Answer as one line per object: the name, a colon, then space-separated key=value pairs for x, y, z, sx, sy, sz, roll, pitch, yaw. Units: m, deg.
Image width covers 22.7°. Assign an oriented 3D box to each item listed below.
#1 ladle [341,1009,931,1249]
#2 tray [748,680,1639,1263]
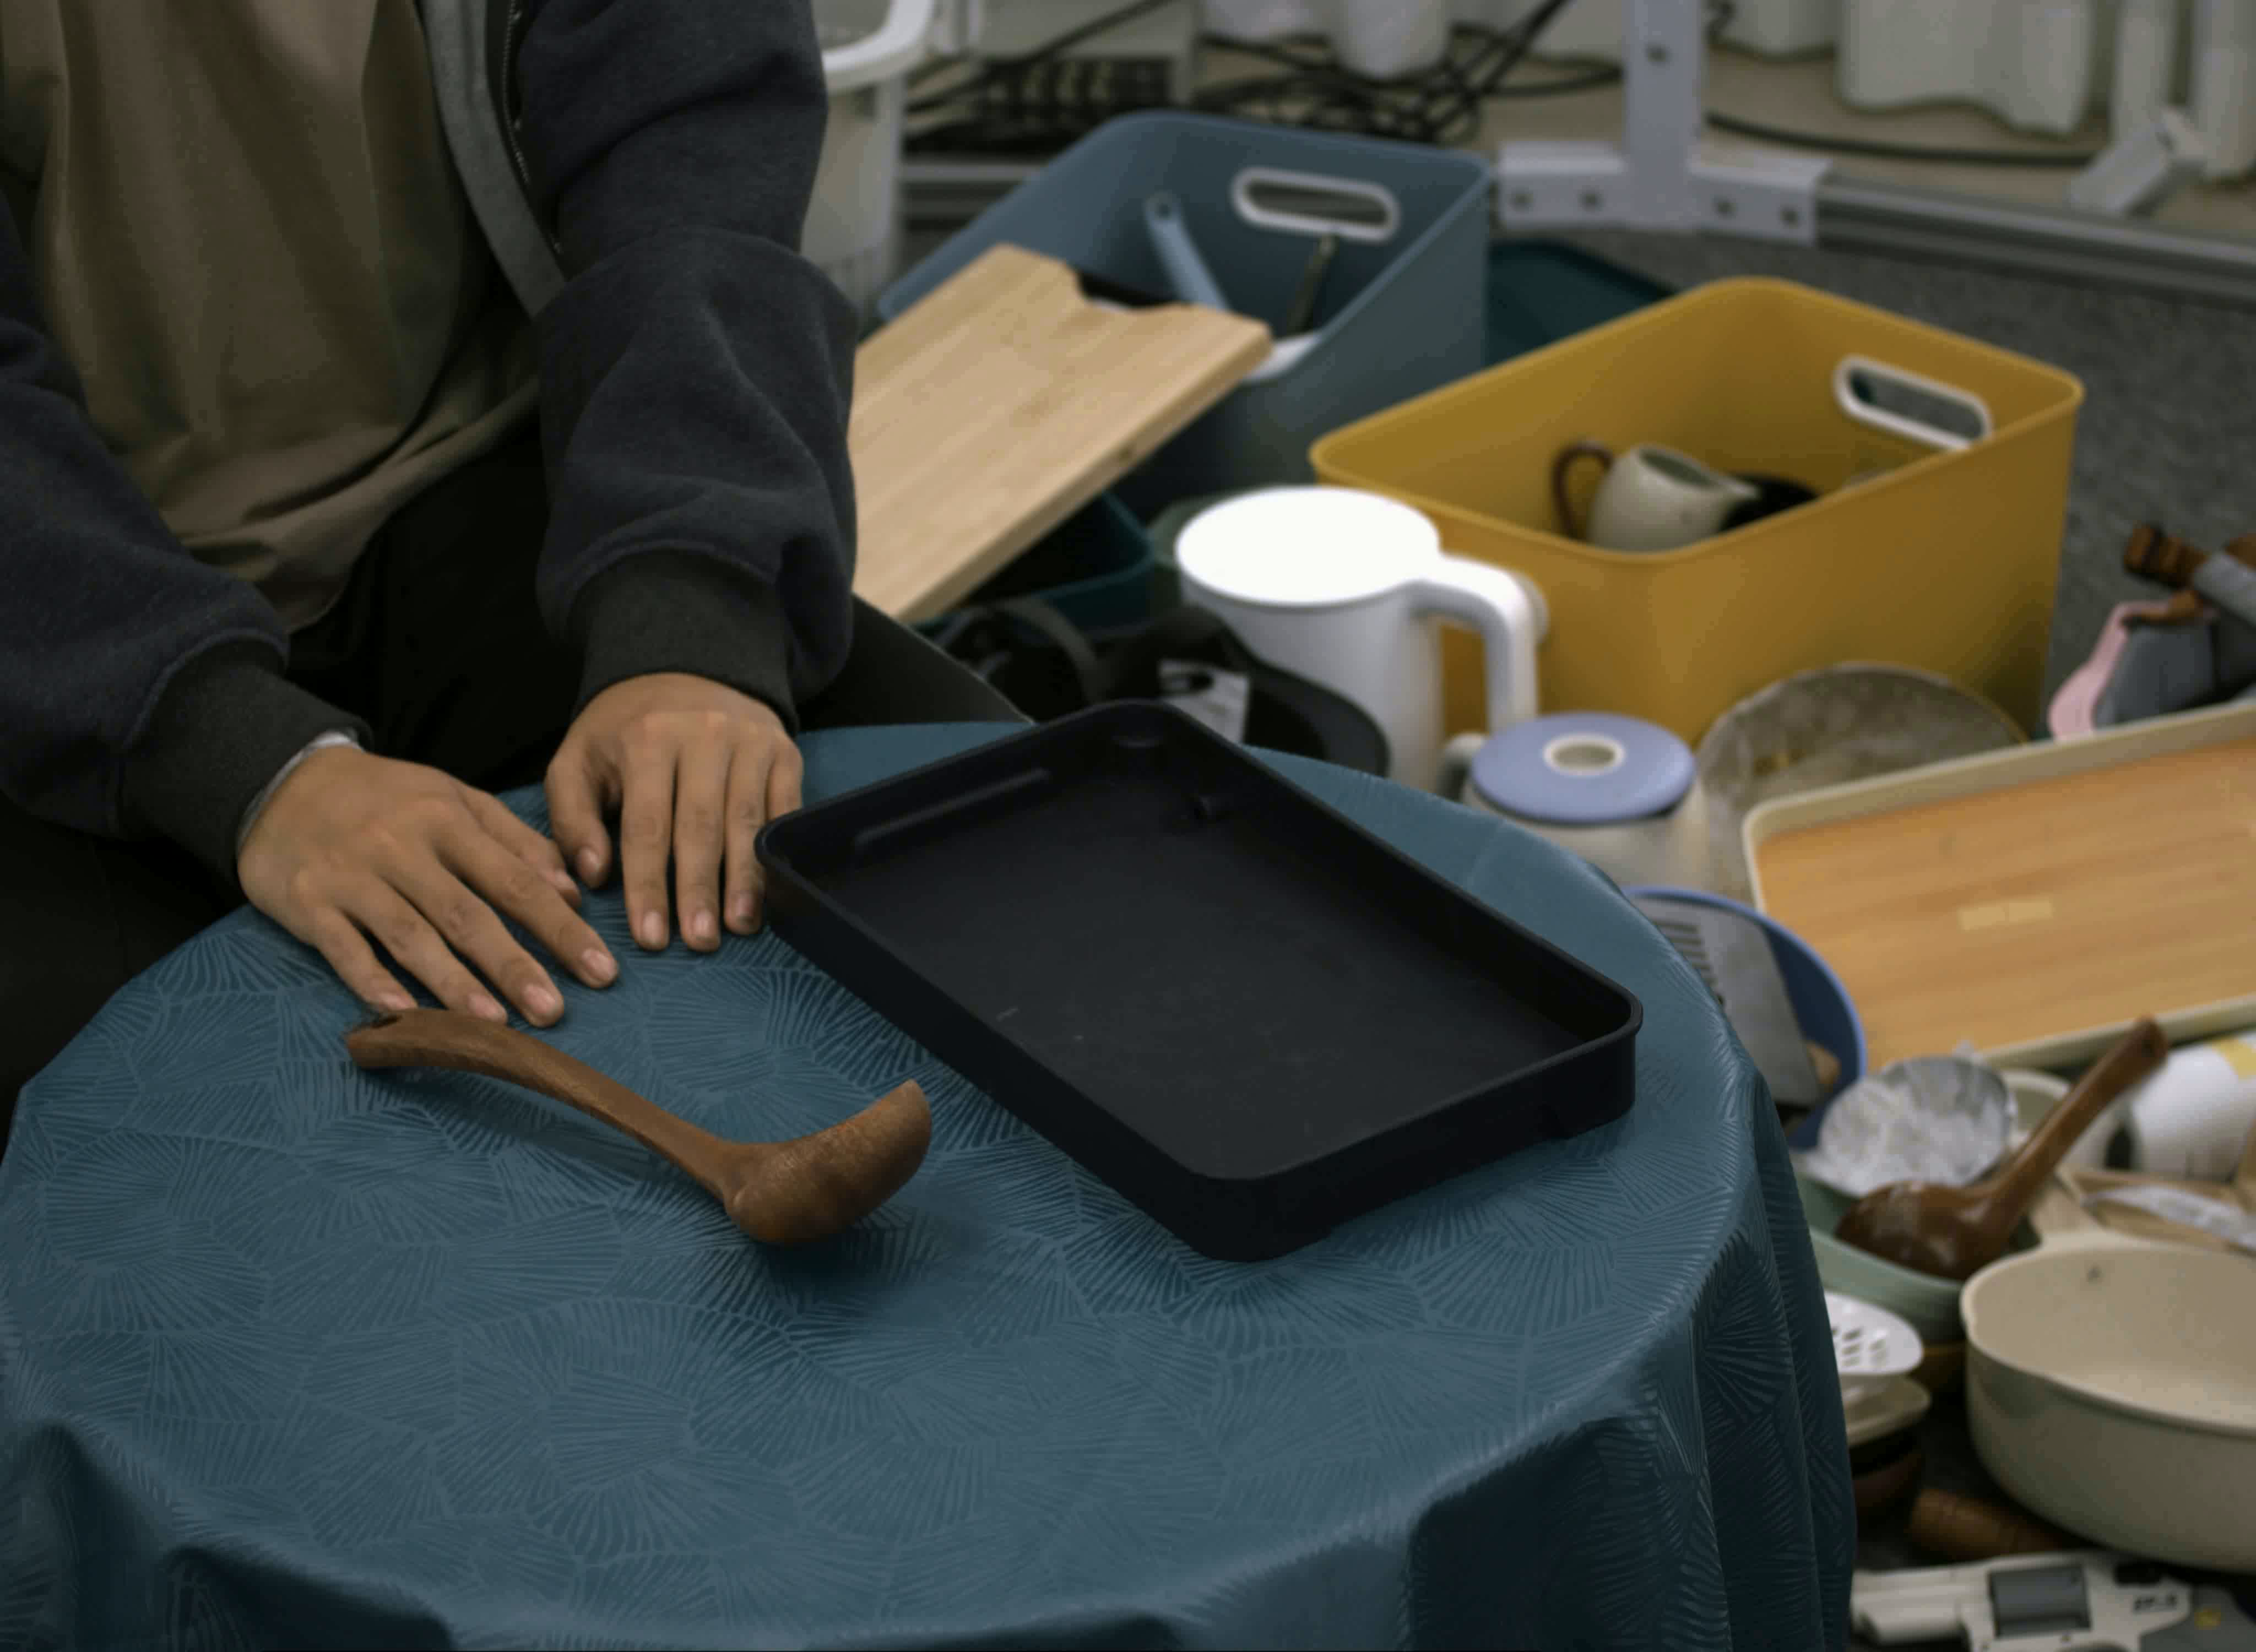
ladle: x=-0.173 y=0.085 z=1.881 sx=0.259 sy=0.064 sz=0.077 roll=18 pitch=35 yaw=35
tray: x=0.018 y=0.045 z=1.964 sx=0.186 sy=0.036 sz=0.319 roll=-19 pitch=33 yaw=-28
